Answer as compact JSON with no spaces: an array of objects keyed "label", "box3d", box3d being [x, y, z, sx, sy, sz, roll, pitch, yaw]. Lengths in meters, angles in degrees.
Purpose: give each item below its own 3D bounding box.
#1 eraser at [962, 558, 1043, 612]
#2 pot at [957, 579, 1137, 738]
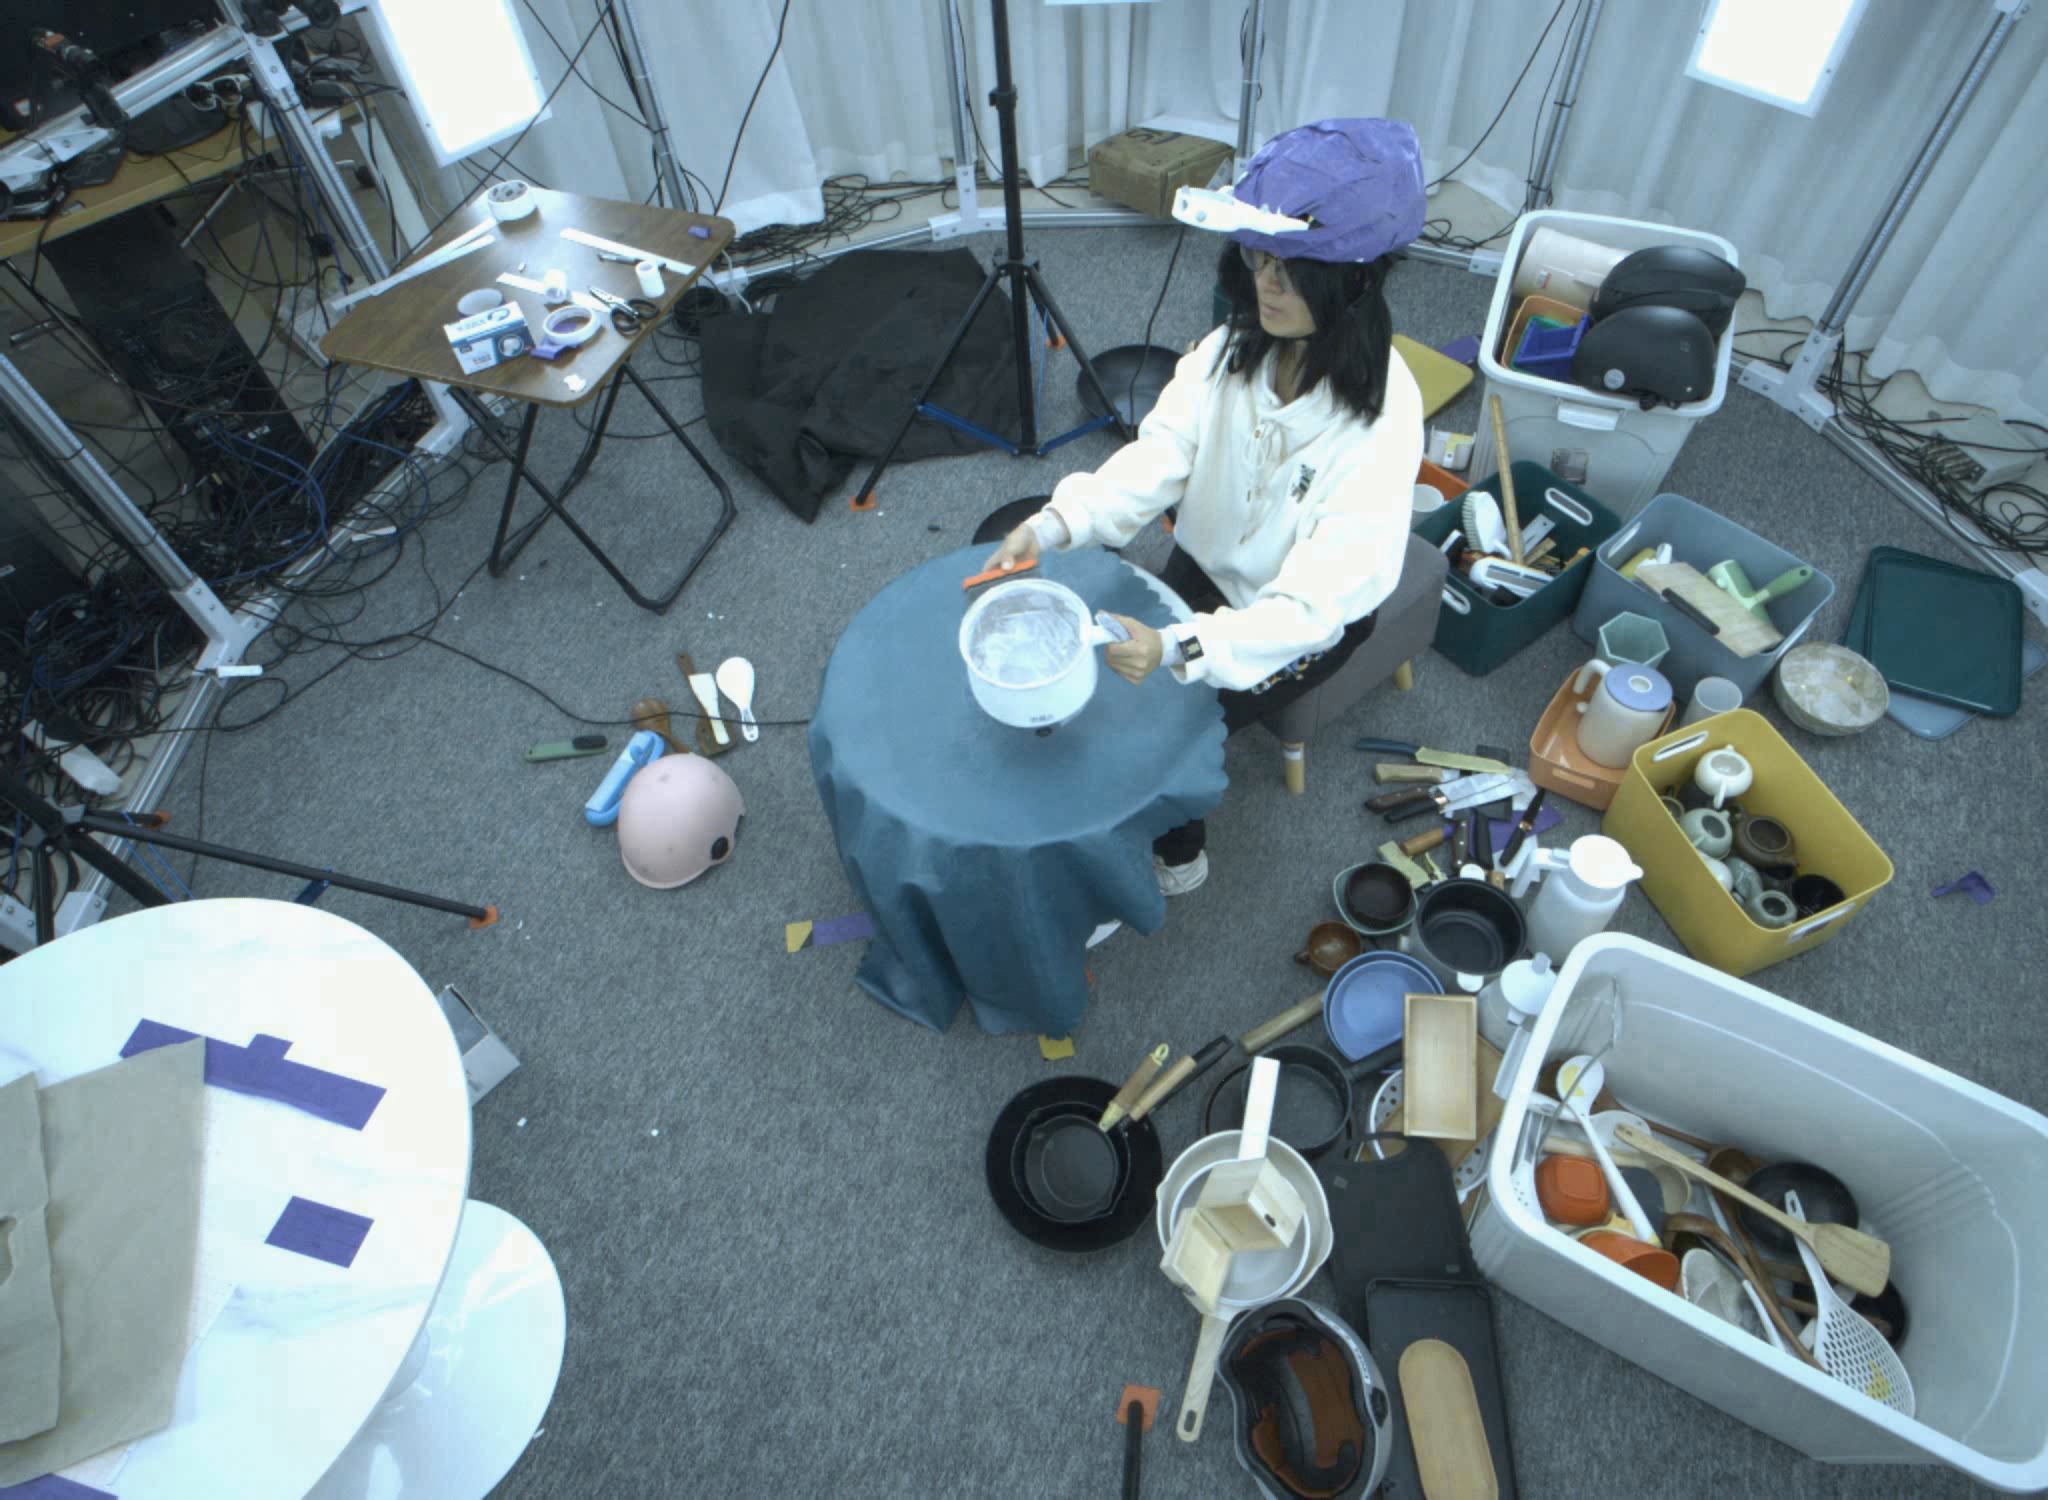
[{"label":"eraser","box3d":[-0.029,-0.223,1.696,0.108,0.060,0.022,-20,50,-4]},{"label":"pot","box3d":[0.035,-0.129,1.664,0.234,0.138,0.176,-12,63,1]}]
